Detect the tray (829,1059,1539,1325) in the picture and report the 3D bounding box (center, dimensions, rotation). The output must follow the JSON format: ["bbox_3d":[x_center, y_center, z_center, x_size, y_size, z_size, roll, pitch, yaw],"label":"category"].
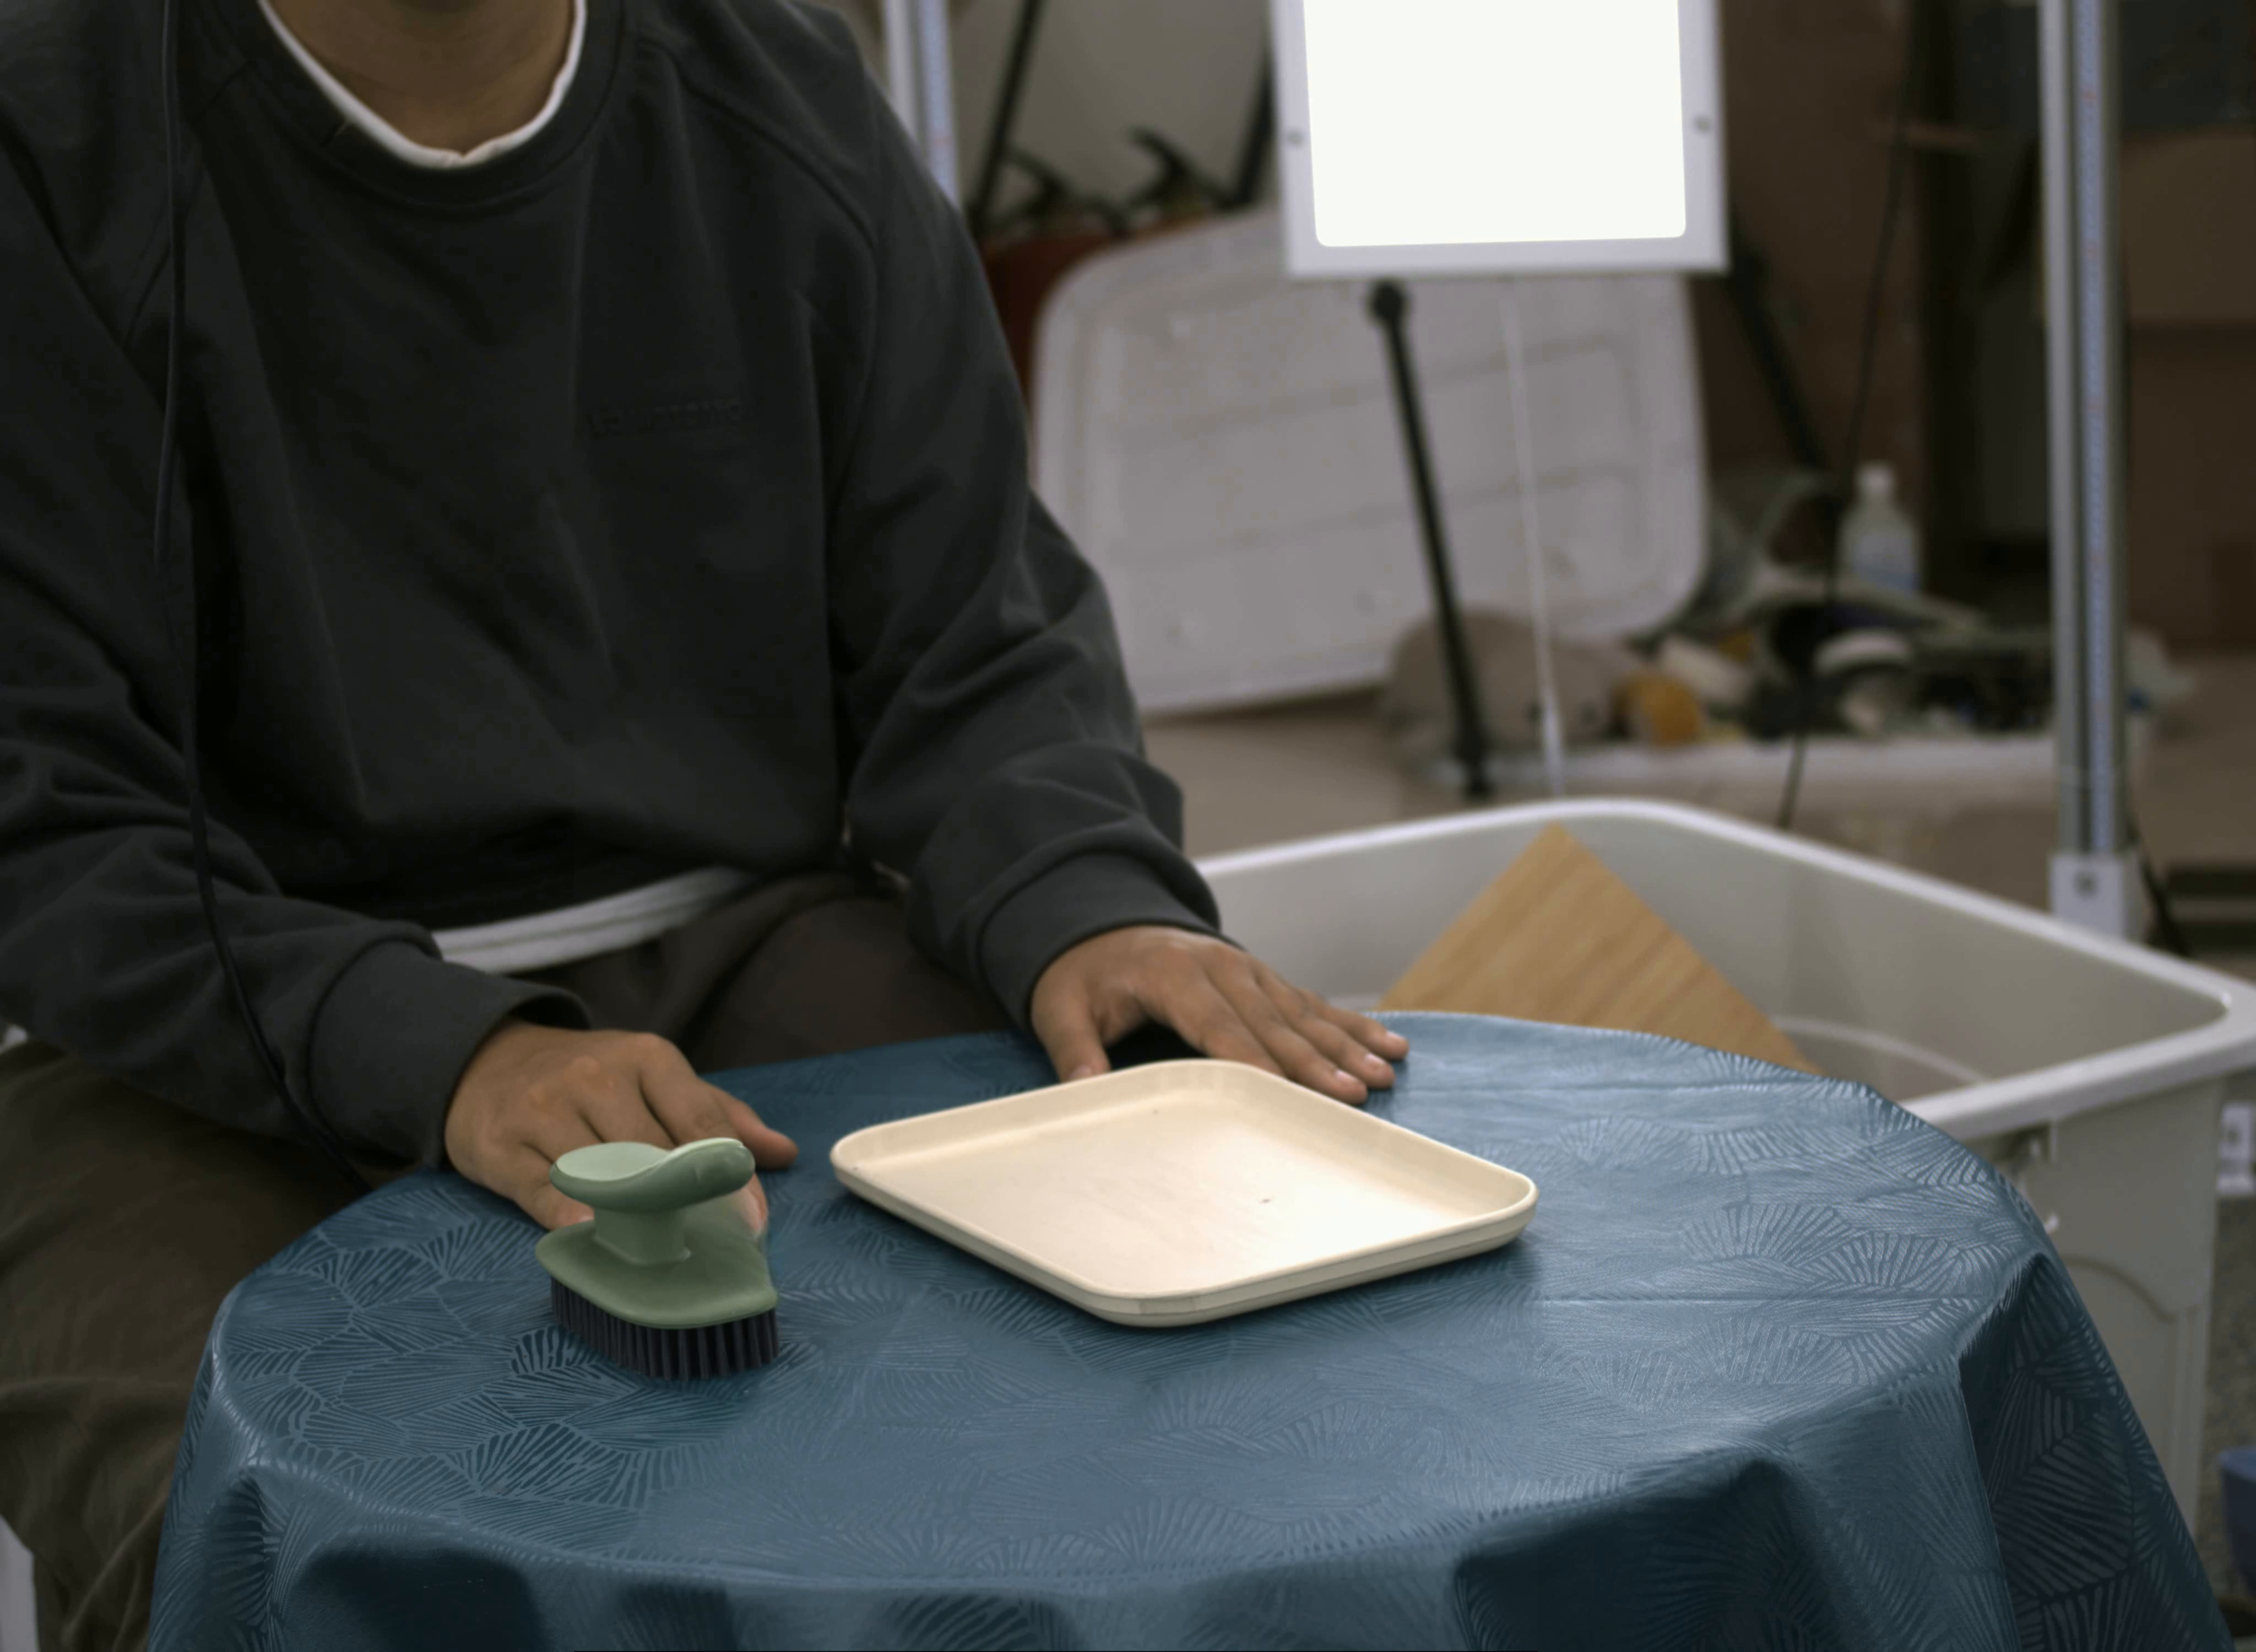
[{"bbox_3d":[0.017,0.123,1.868,0.167,0.017,0.244,-11,15,-26],"label":"tray"}]

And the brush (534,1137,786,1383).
[{"bbox_3d":[-0.152,0.139,1.788,0.058,0.076,0.125,-10,1,-26],"label":"brush"}]
